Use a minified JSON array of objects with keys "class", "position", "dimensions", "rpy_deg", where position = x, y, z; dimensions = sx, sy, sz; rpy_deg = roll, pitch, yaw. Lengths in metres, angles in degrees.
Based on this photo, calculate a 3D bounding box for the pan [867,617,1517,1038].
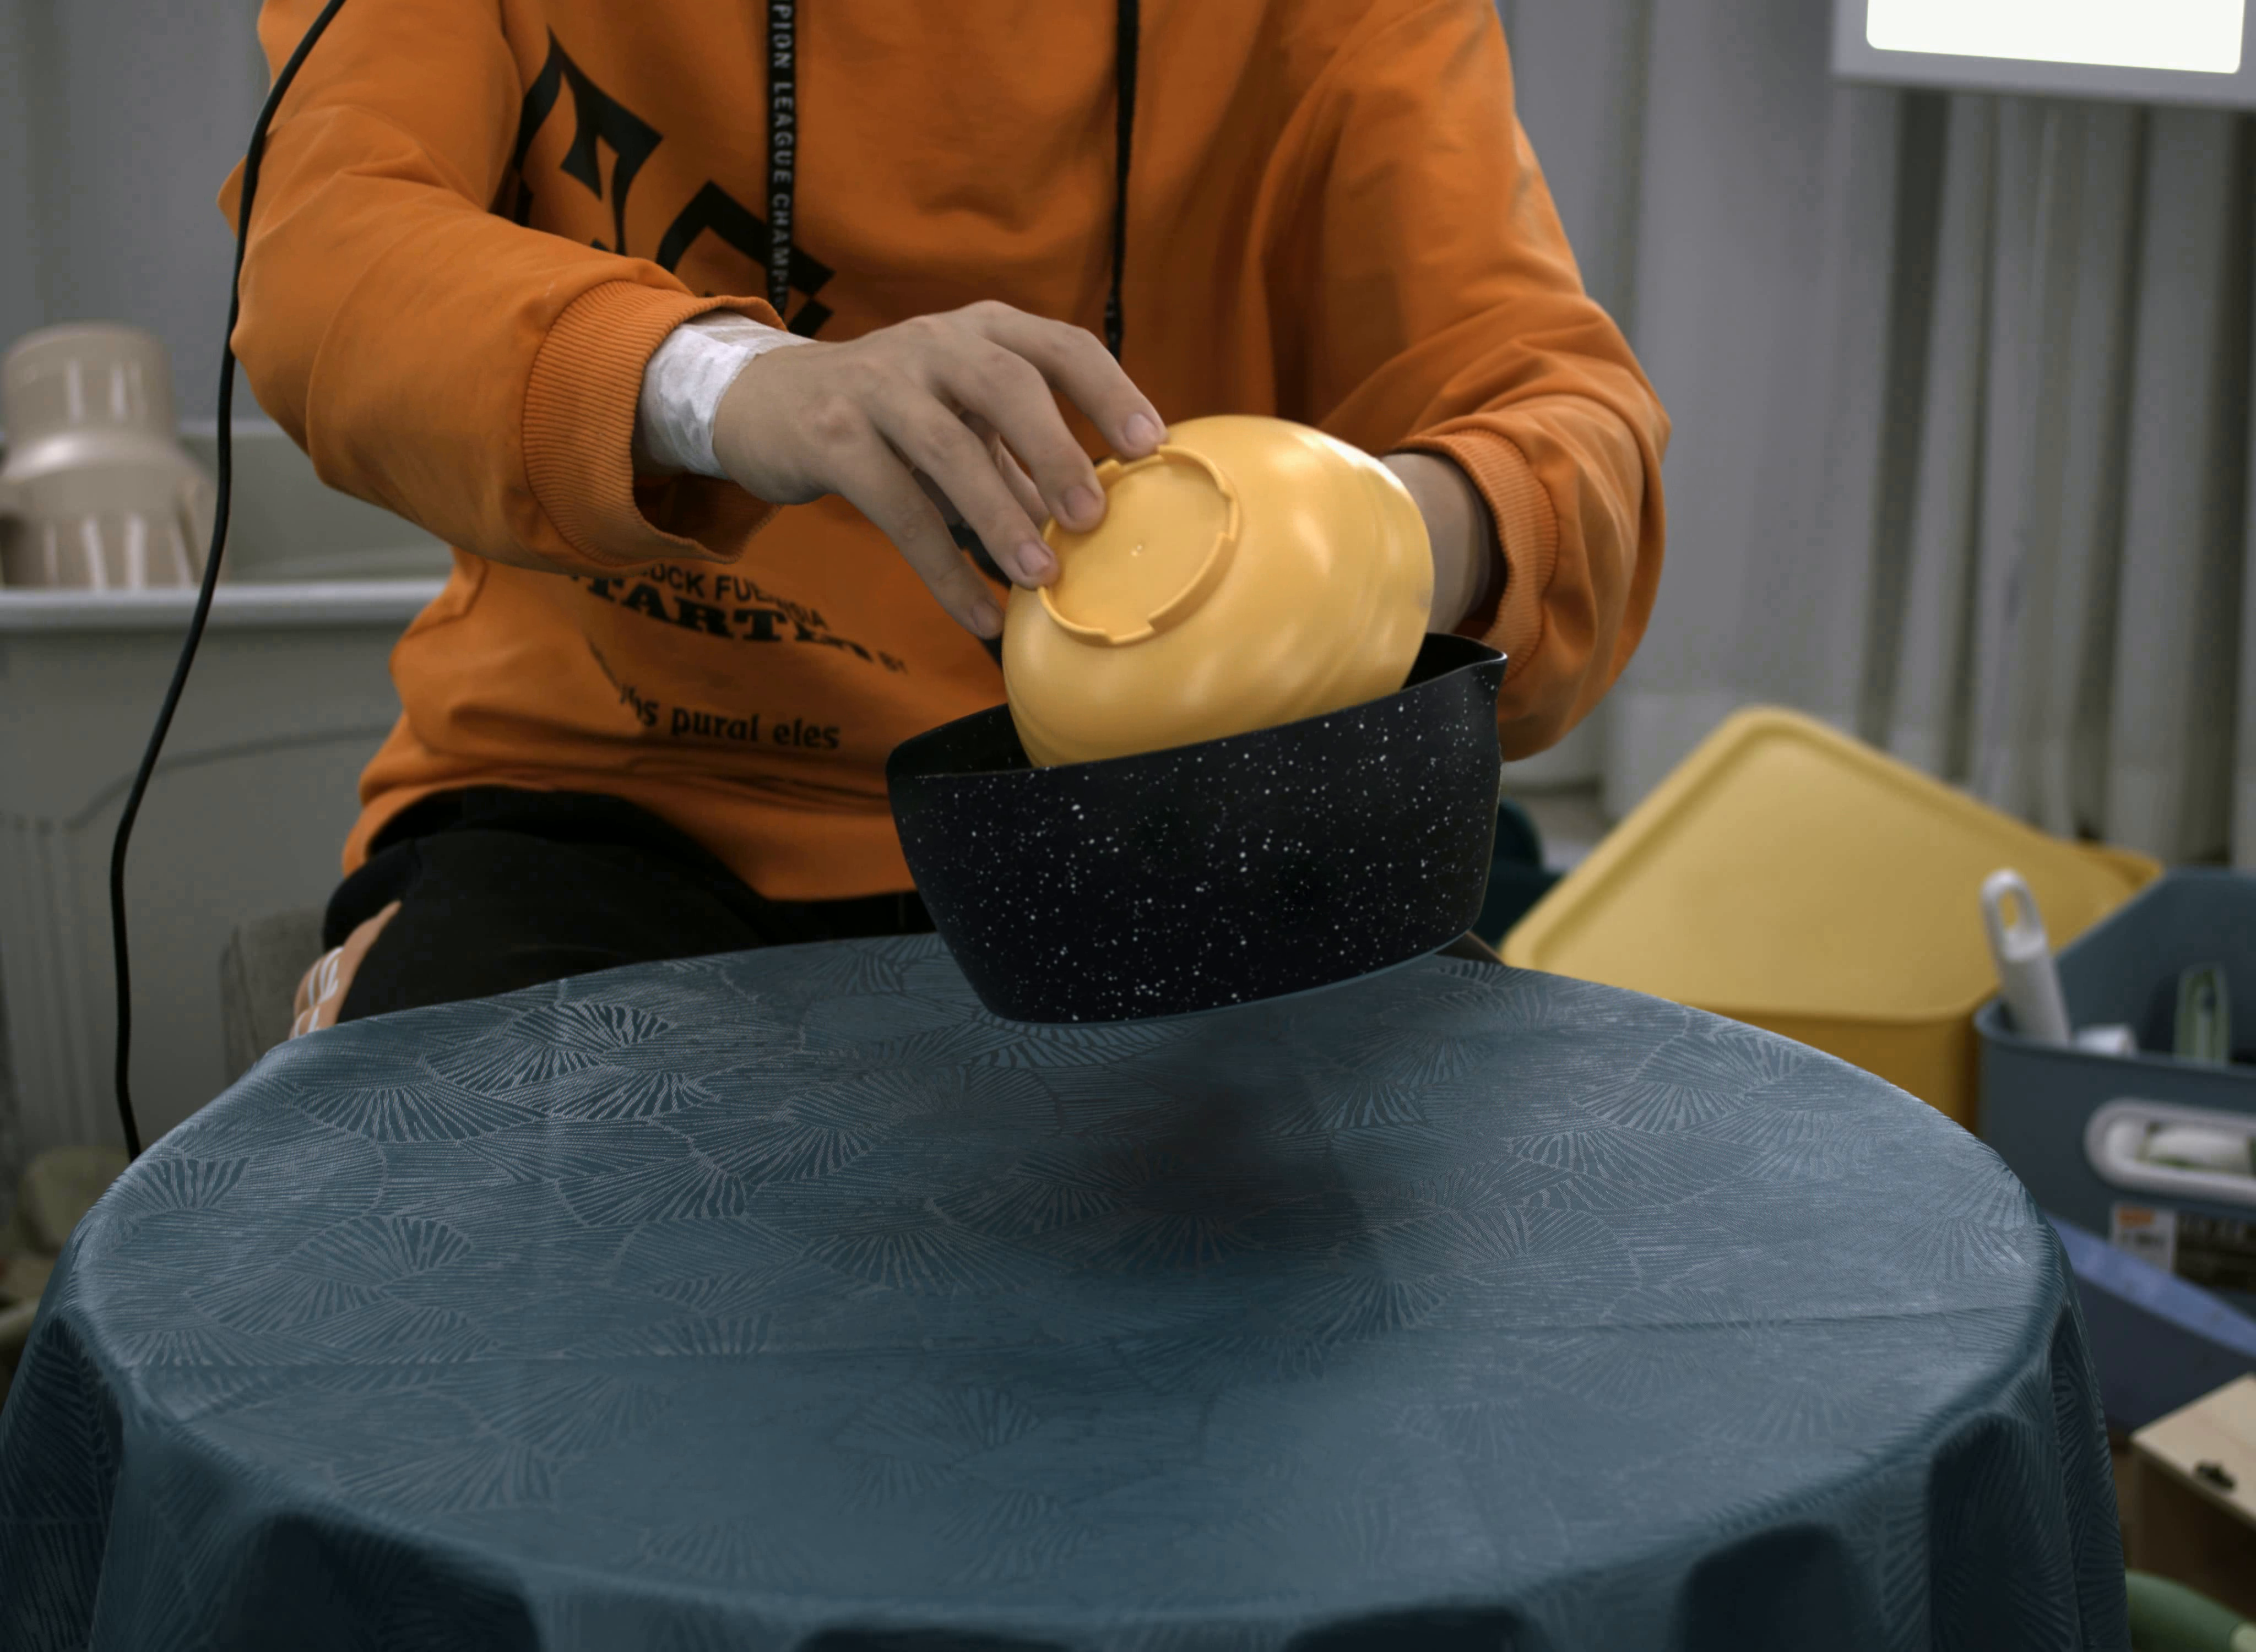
[{"class":"pan","position":[0.037,-0.024,1.663],"dimensions":[0.206,0.109,0.342],"rpy_deg":[-10,10,13]}]

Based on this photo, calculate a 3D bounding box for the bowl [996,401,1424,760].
[{"class":"bowl","position":[0.013,-0.075,1.576],"dimensions":[0.143,0.145,0.061],"rpy_deg":[15,-20,40]}]
